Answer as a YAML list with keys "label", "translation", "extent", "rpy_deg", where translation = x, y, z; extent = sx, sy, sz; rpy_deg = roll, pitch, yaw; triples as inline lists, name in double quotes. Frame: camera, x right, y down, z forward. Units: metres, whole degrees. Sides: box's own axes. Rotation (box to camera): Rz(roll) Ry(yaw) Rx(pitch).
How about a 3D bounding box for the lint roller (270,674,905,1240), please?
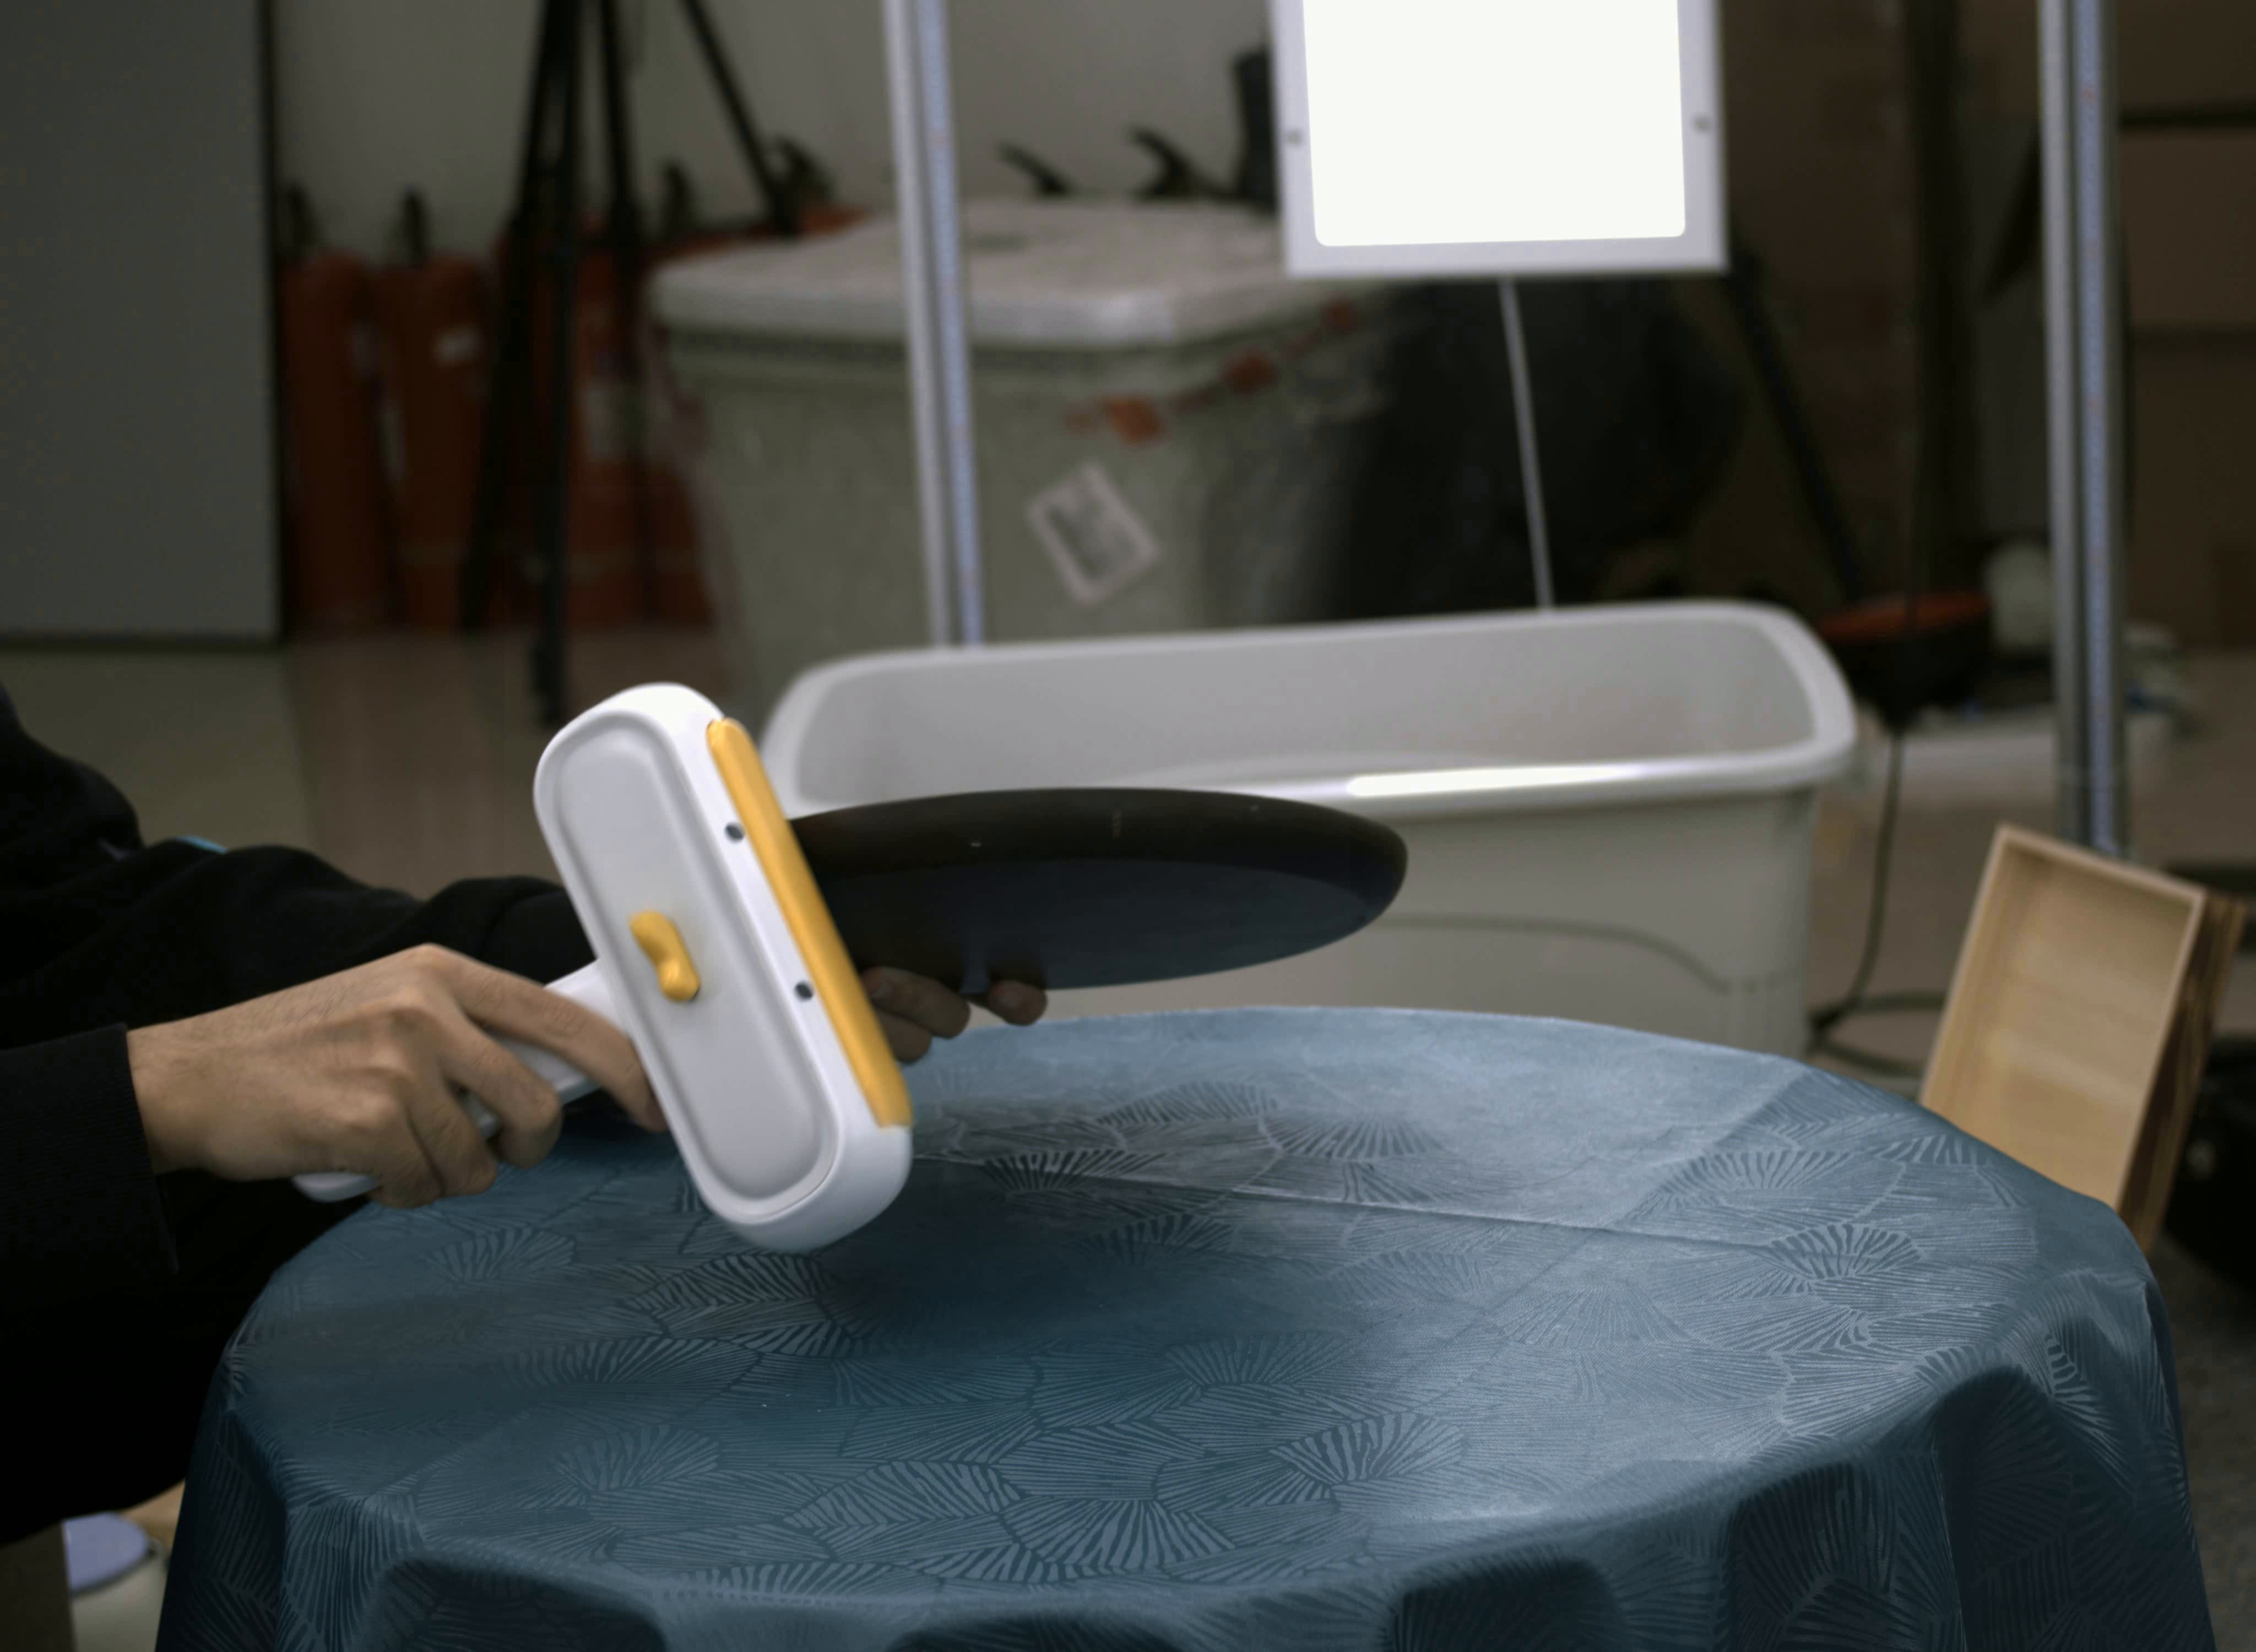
- label: "lint roller"
  translation: [-0.187, 0.071, 1.786]
  extent: [0.194, 0.194, 0.073]
  rpy_deg: [-32, -12, 12]

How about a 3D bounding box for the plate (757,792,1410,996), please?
- label: "plate"
  translation: [-0.029, 0.025, 1.878]
  extent: [0.254, 0.029, 0.255]
  rpy_deg: [-3, -13, -2]
